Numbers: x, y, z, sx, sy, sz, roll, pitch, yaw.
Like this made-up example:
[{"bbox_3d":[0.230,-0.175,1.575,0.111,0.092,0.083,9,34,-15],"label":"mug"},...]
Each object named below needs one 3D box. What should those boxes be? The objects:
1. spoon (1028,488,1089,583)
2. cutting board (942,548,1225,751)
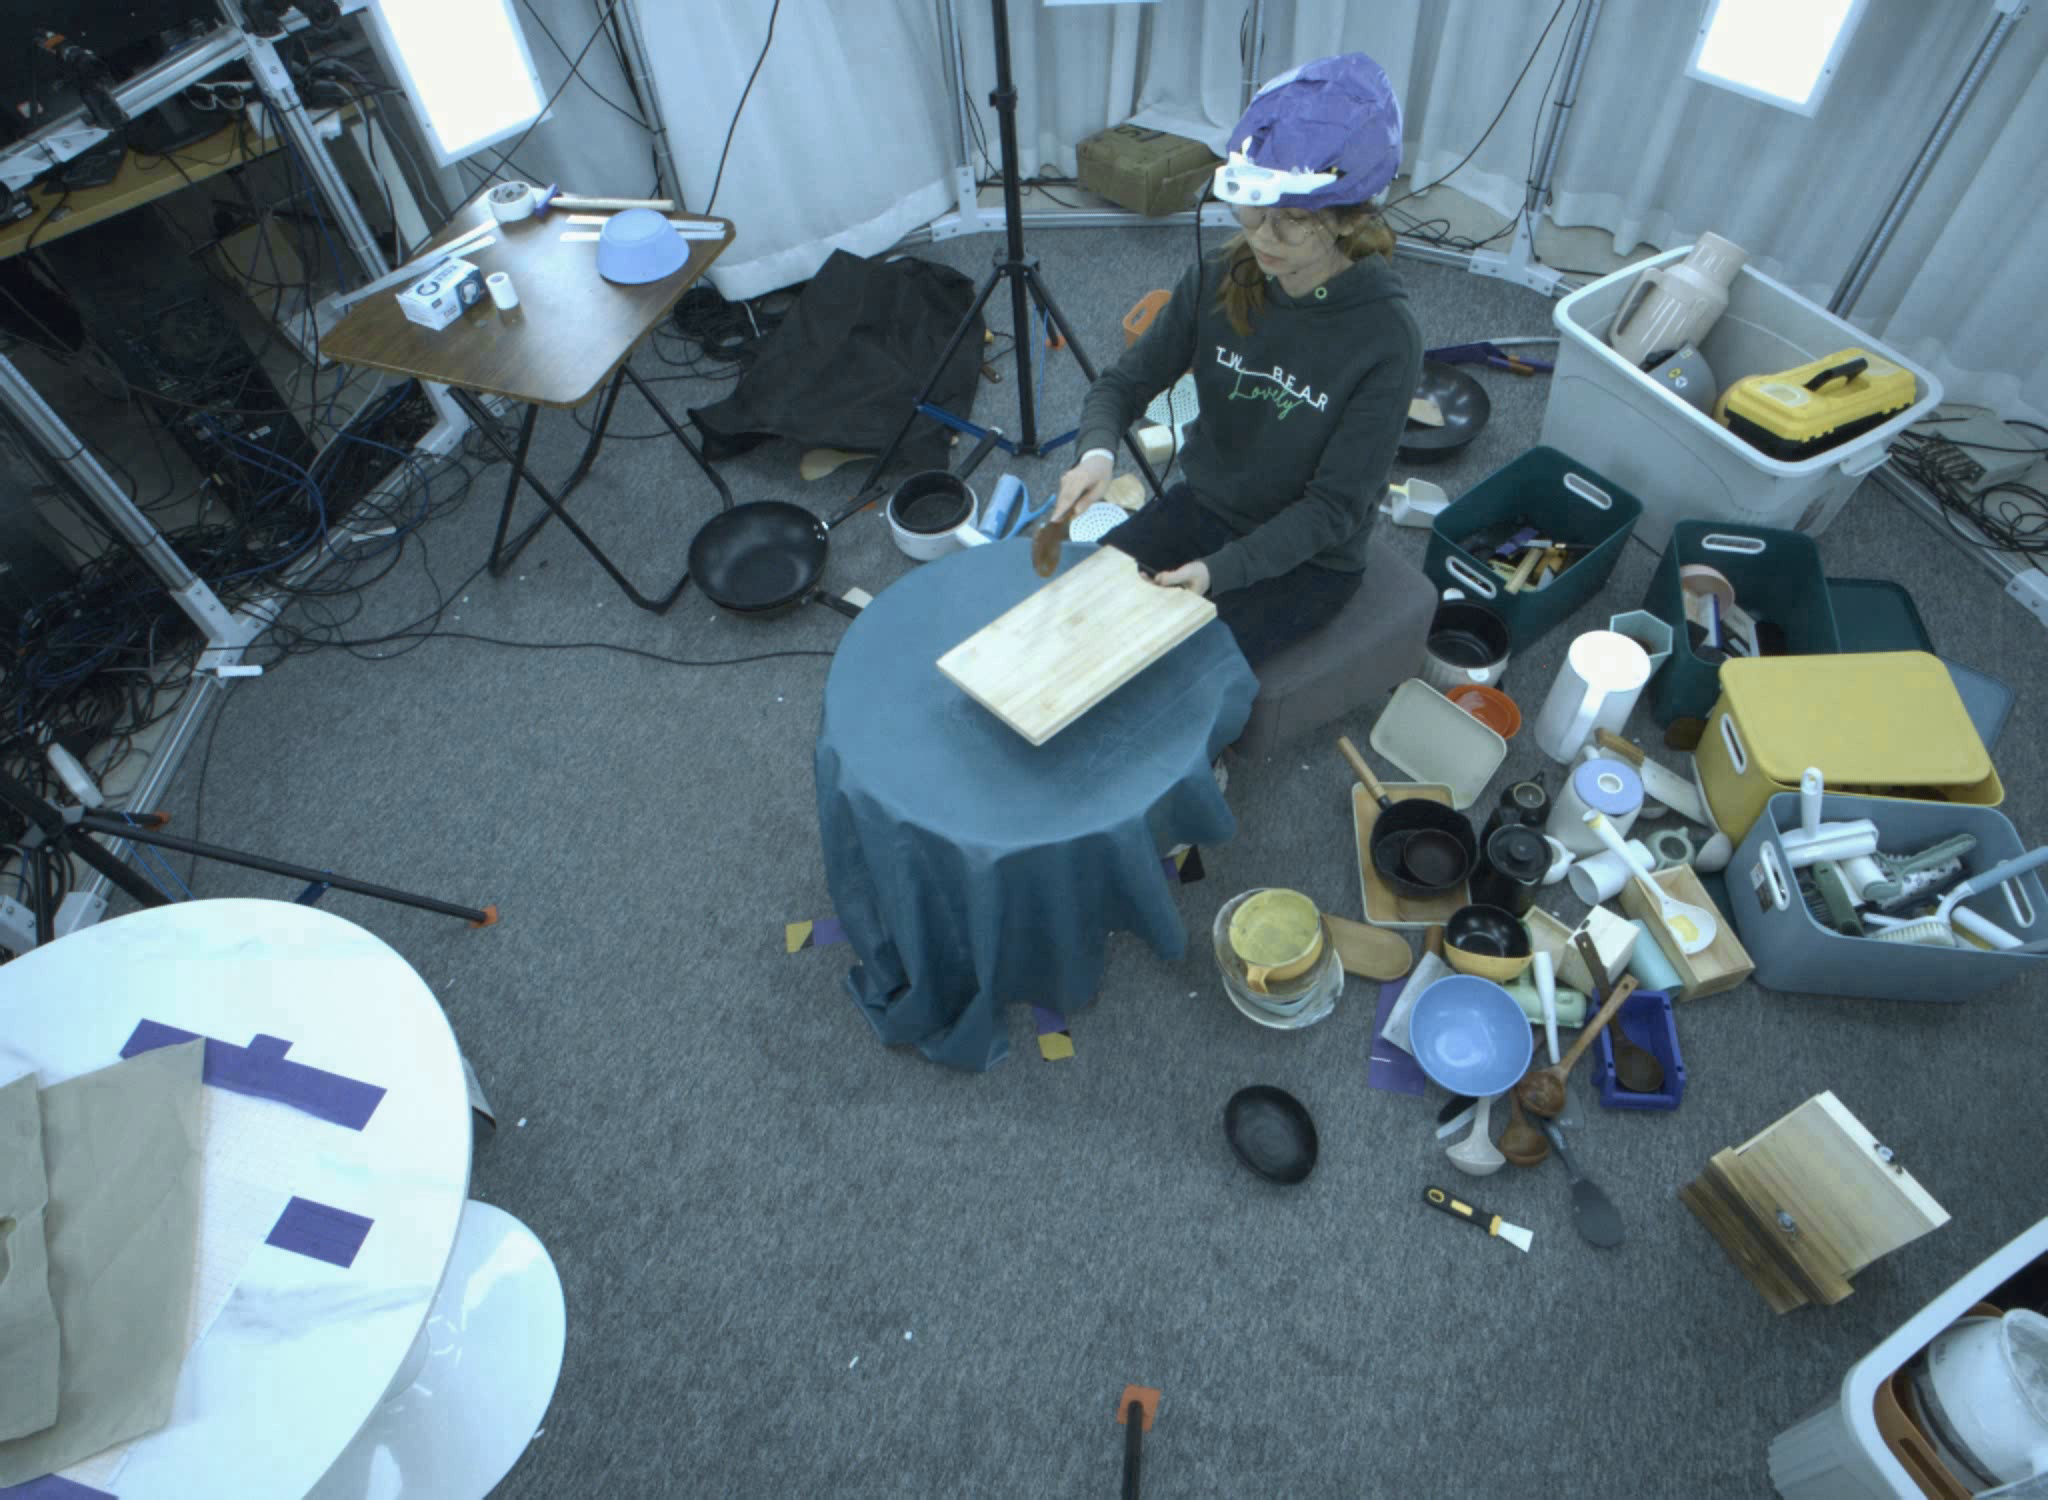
[{"bbox_3d":[0.049,-0.319,1.778,0.017,0.077,0.216,1,42,30],"label":"spoon"},{"bbox_3d":[0.082,-0.156,1.786,0.351,0.024,0.245,-37,49,-19],"label":"cutting board"}]
